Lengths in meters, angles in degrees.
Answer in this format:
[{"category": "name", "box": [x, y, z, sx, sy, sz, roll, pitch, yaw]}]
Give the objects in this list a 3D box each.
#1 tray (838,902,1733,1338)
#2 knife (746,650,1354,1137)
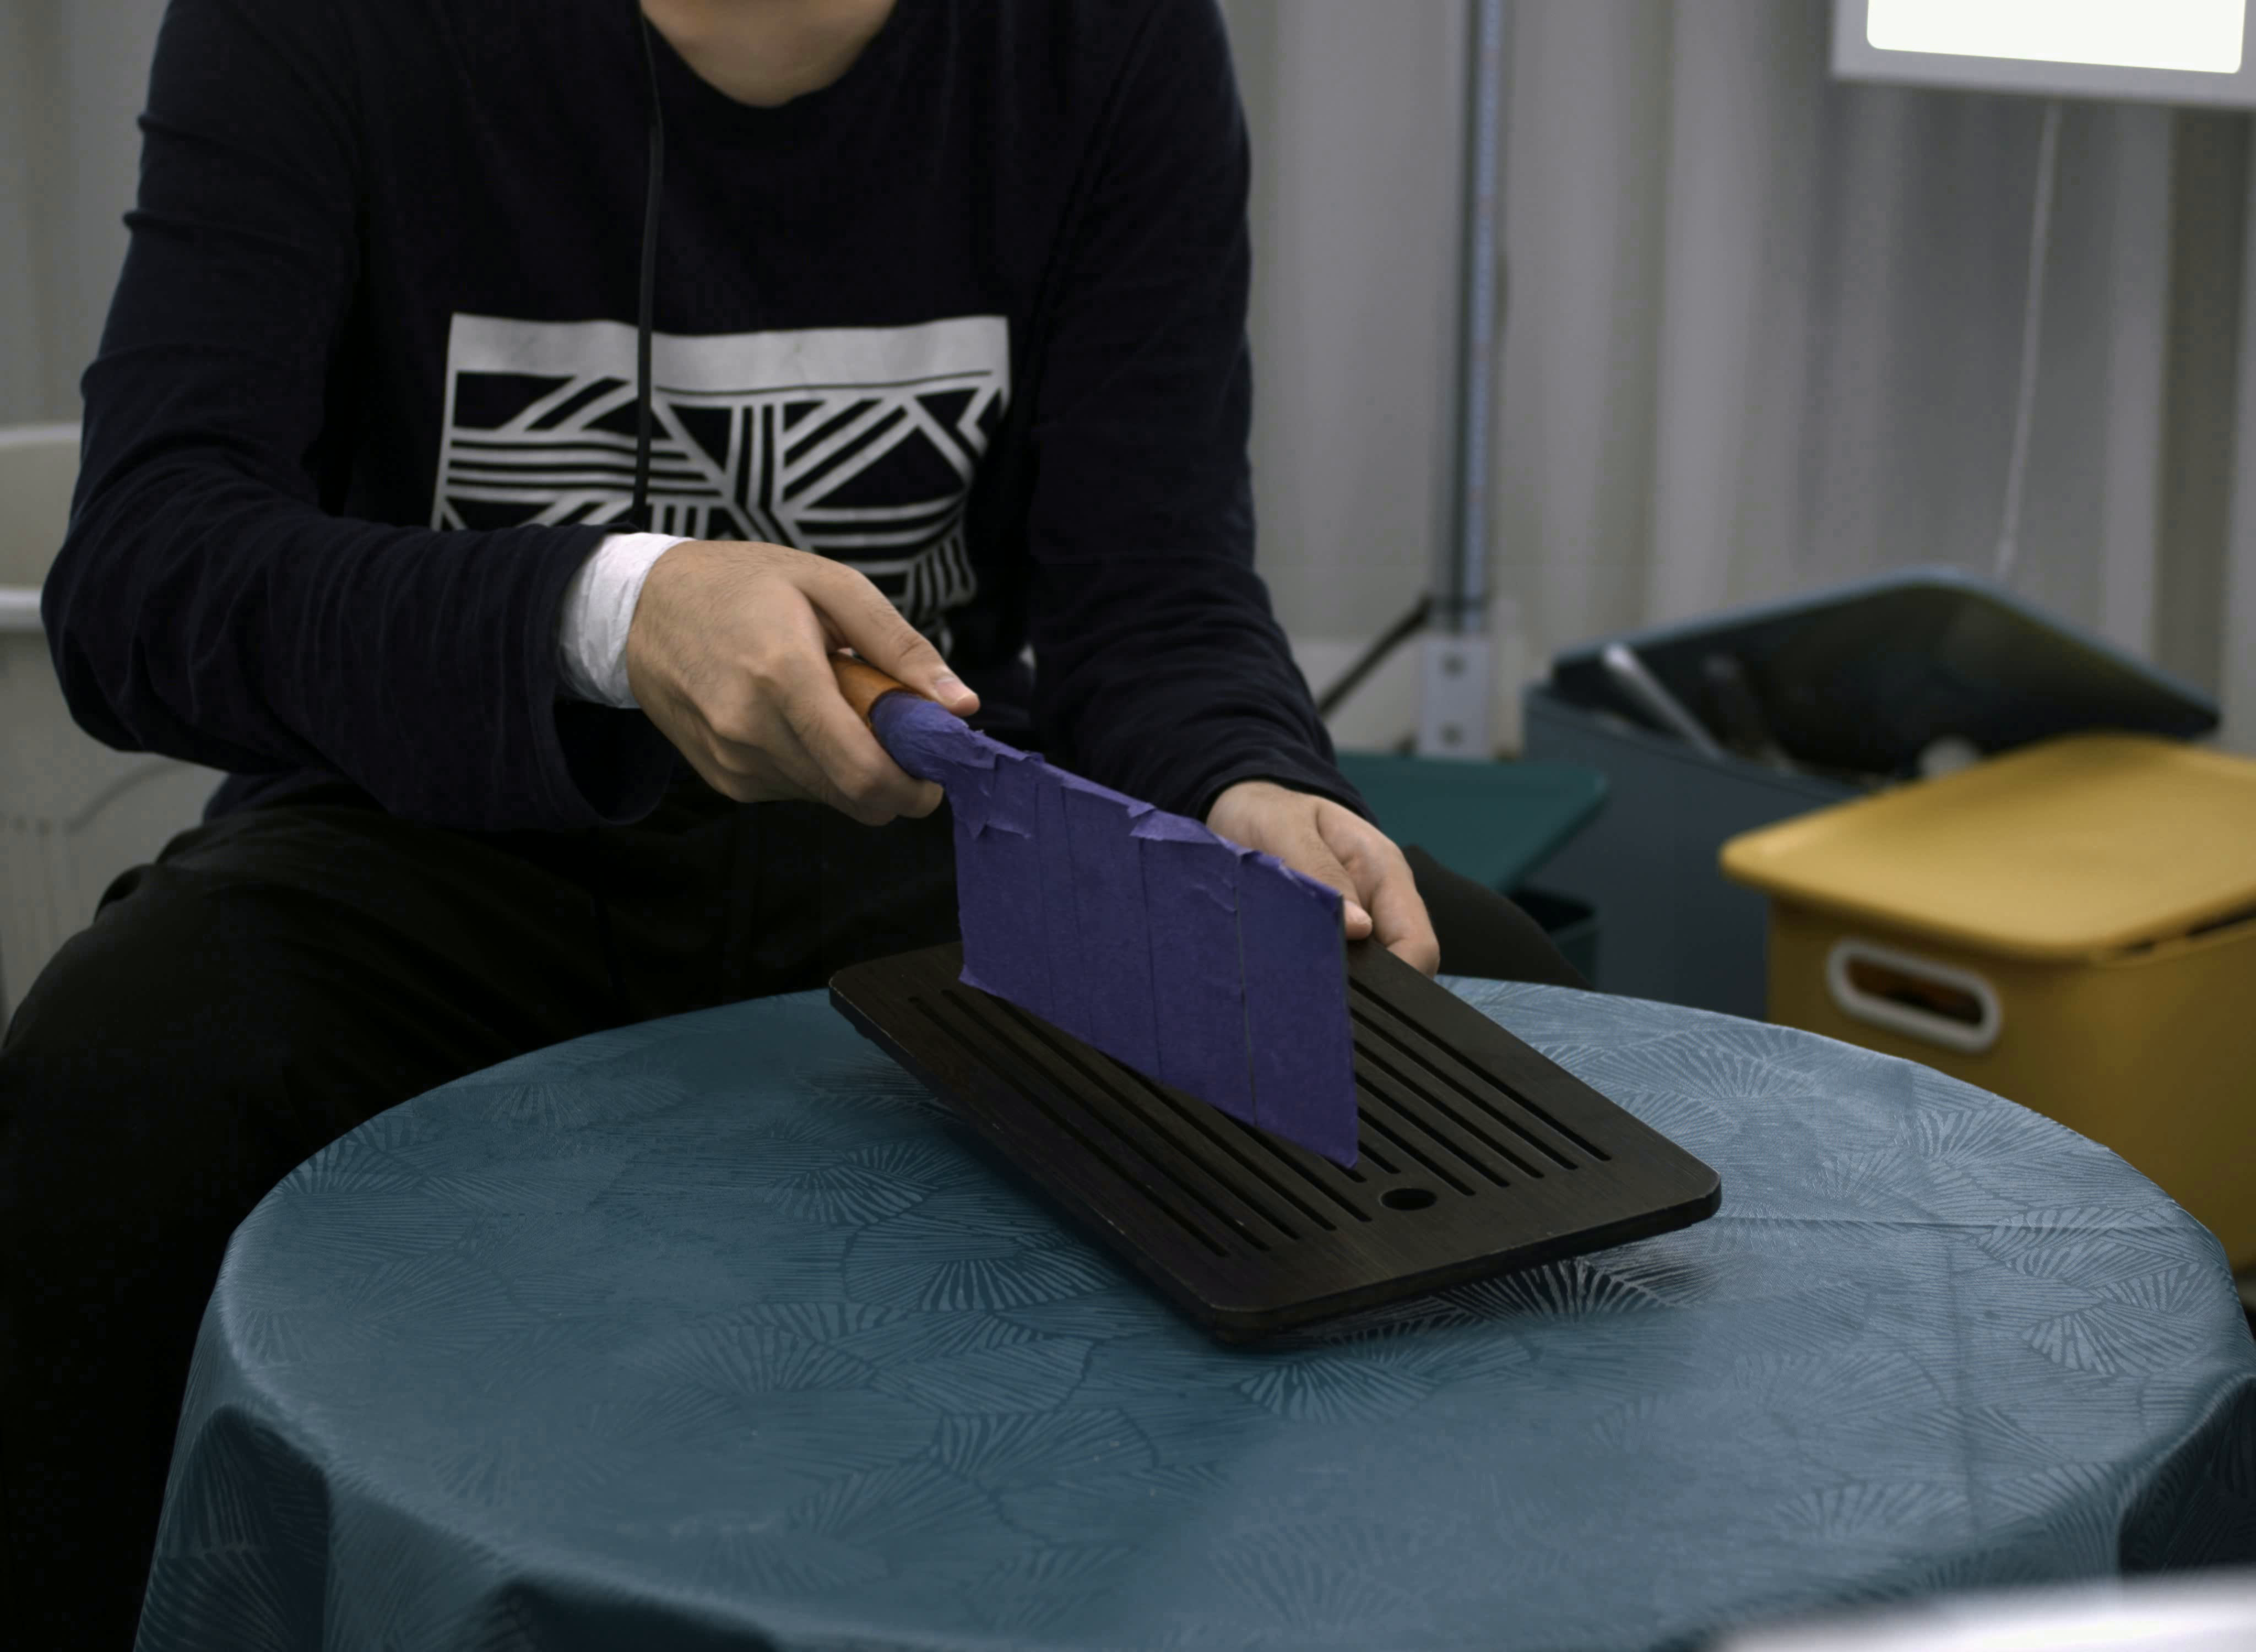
[{"category": "tray", "box": [0.042, 0.083, 1.642, 0.170, 0.019, 0.302, -12, 22, -23]}, {"category": "knife", "box": [-0.029, 0.020, 1.633, 0.032, 0.105, 0.311, -15, 23, -30]}]
